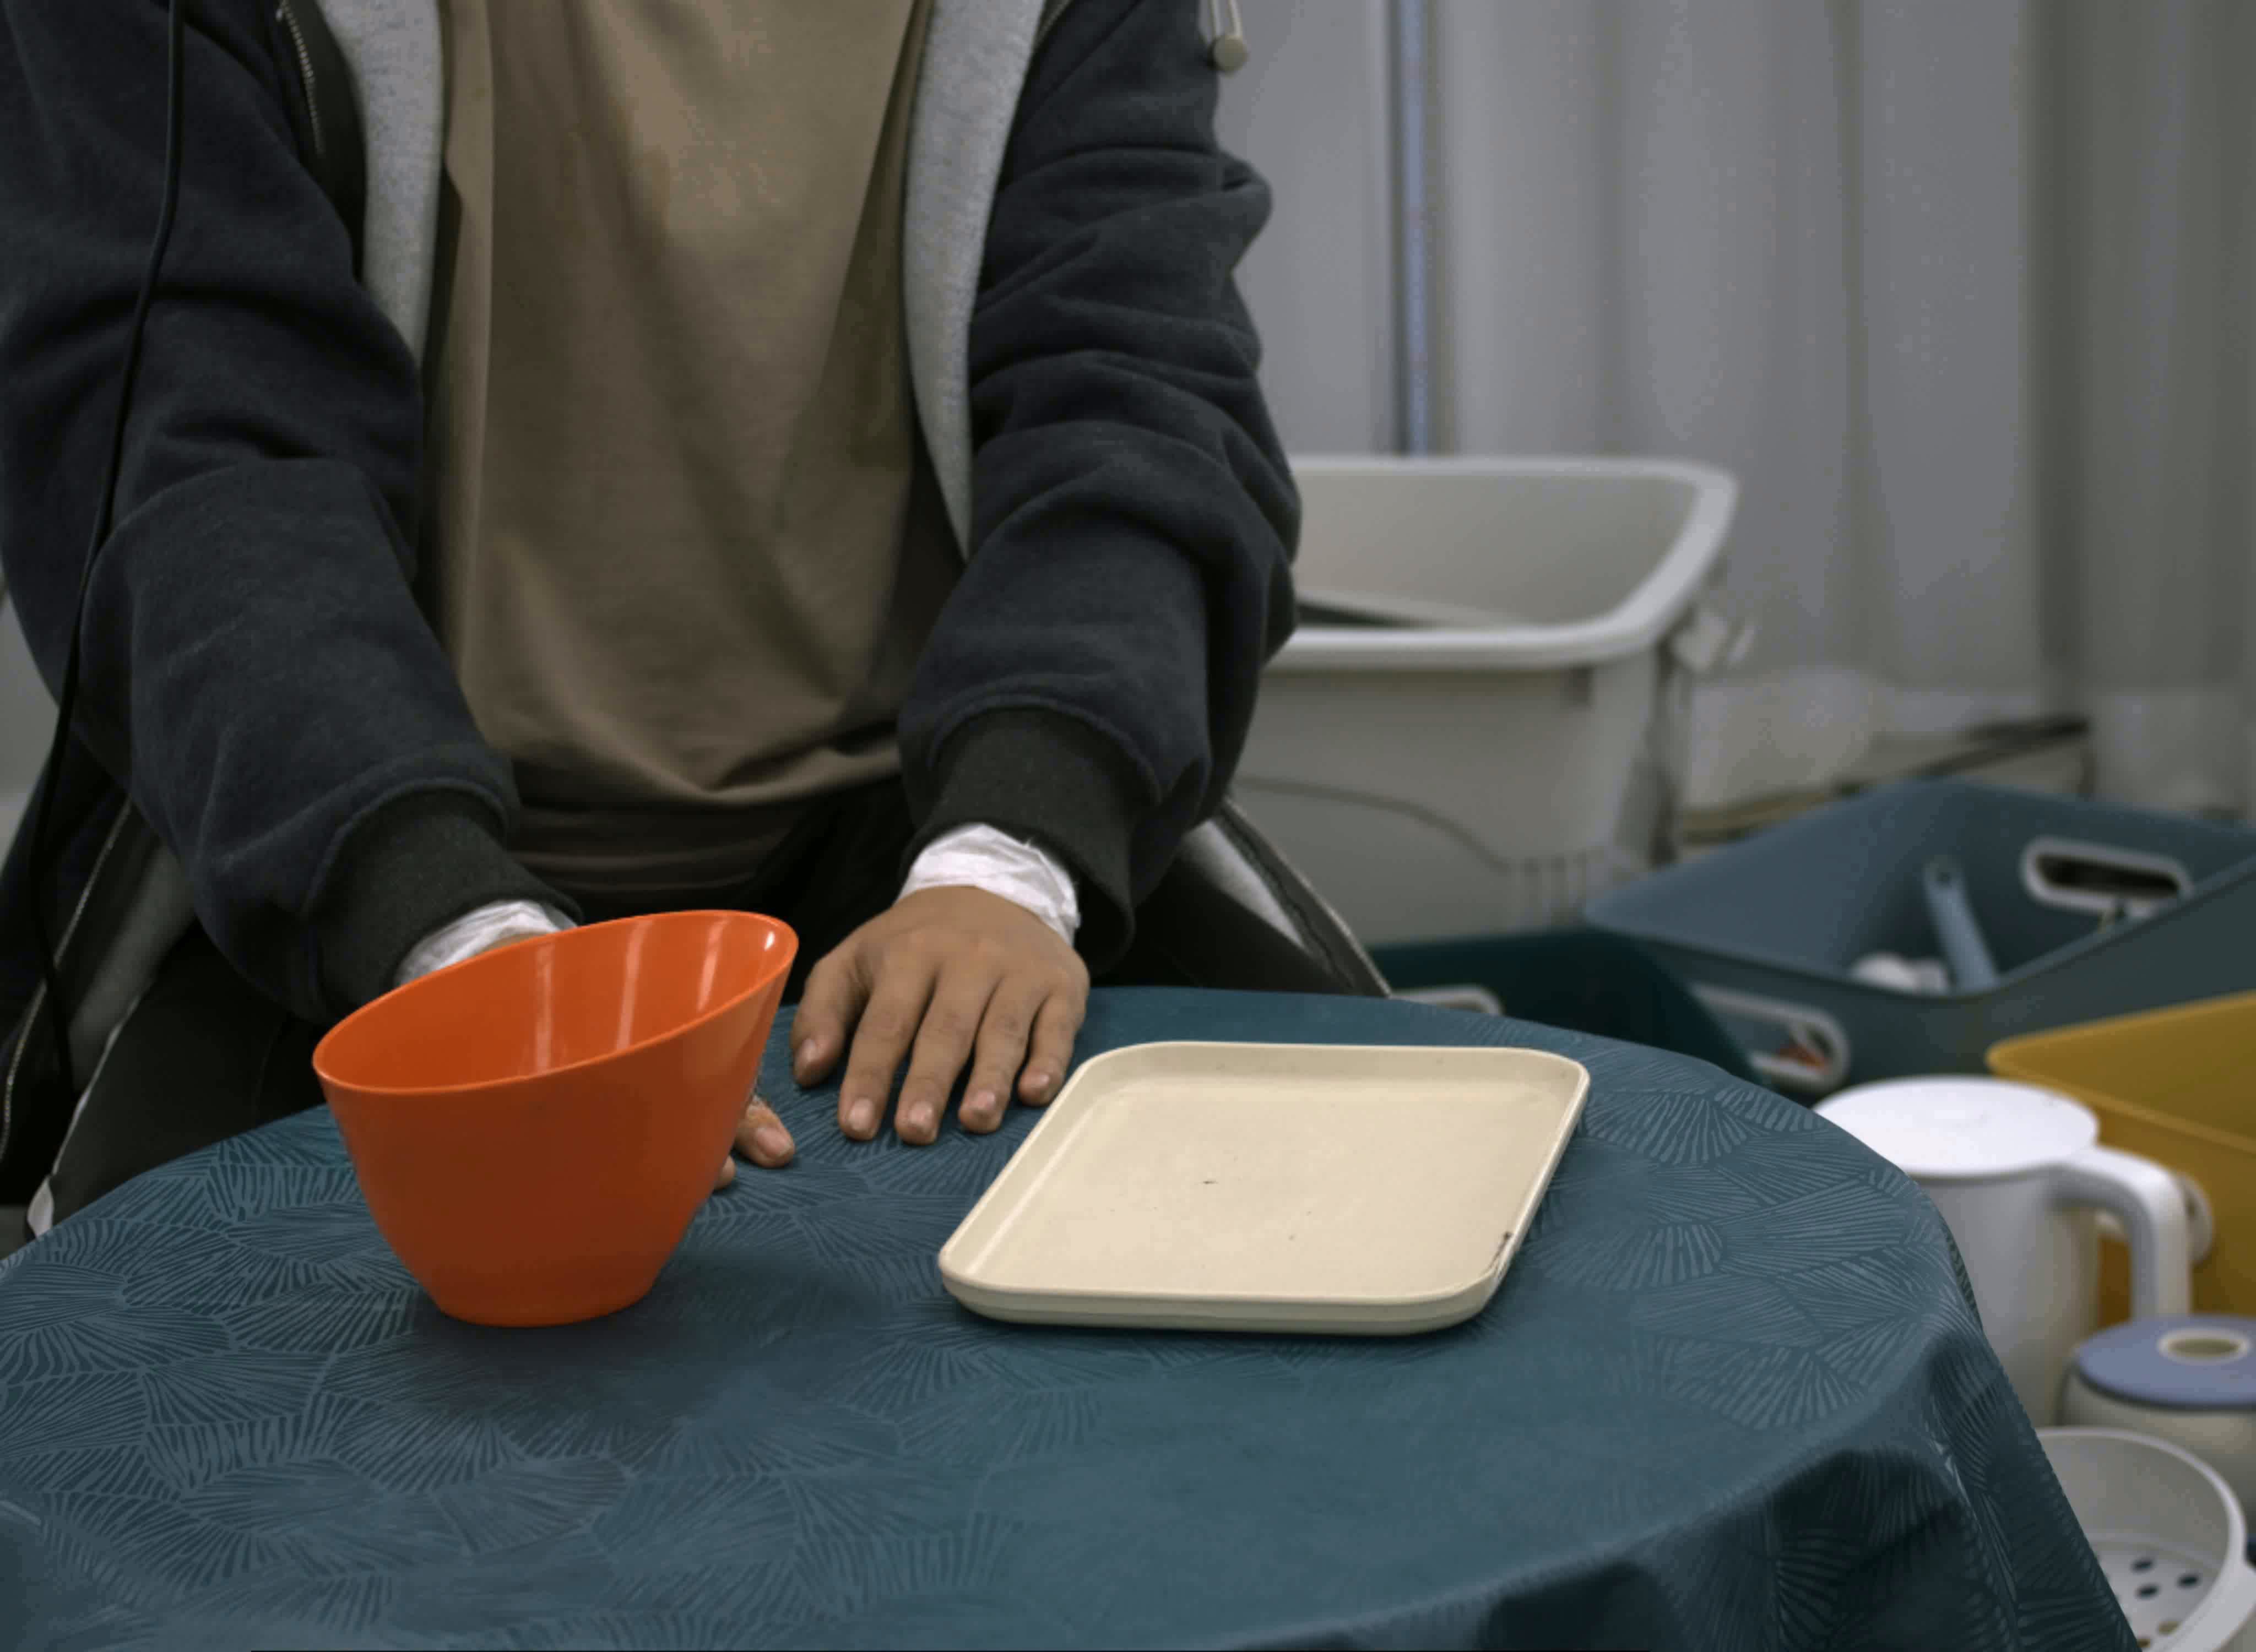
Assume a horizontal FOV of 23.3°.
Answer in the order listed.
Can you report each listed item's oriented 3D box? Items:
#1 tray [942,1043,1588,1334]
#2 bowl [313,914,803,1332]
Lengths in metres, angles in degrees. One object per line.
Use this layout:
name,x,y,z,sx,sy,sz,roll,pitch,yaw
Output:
tray,0.047,0.111,1.688,0.171,0.017,0.241,0,15,13
bowl,-0.168,0.092,1.641,0.147,0.104,0.149,-2,16,0
